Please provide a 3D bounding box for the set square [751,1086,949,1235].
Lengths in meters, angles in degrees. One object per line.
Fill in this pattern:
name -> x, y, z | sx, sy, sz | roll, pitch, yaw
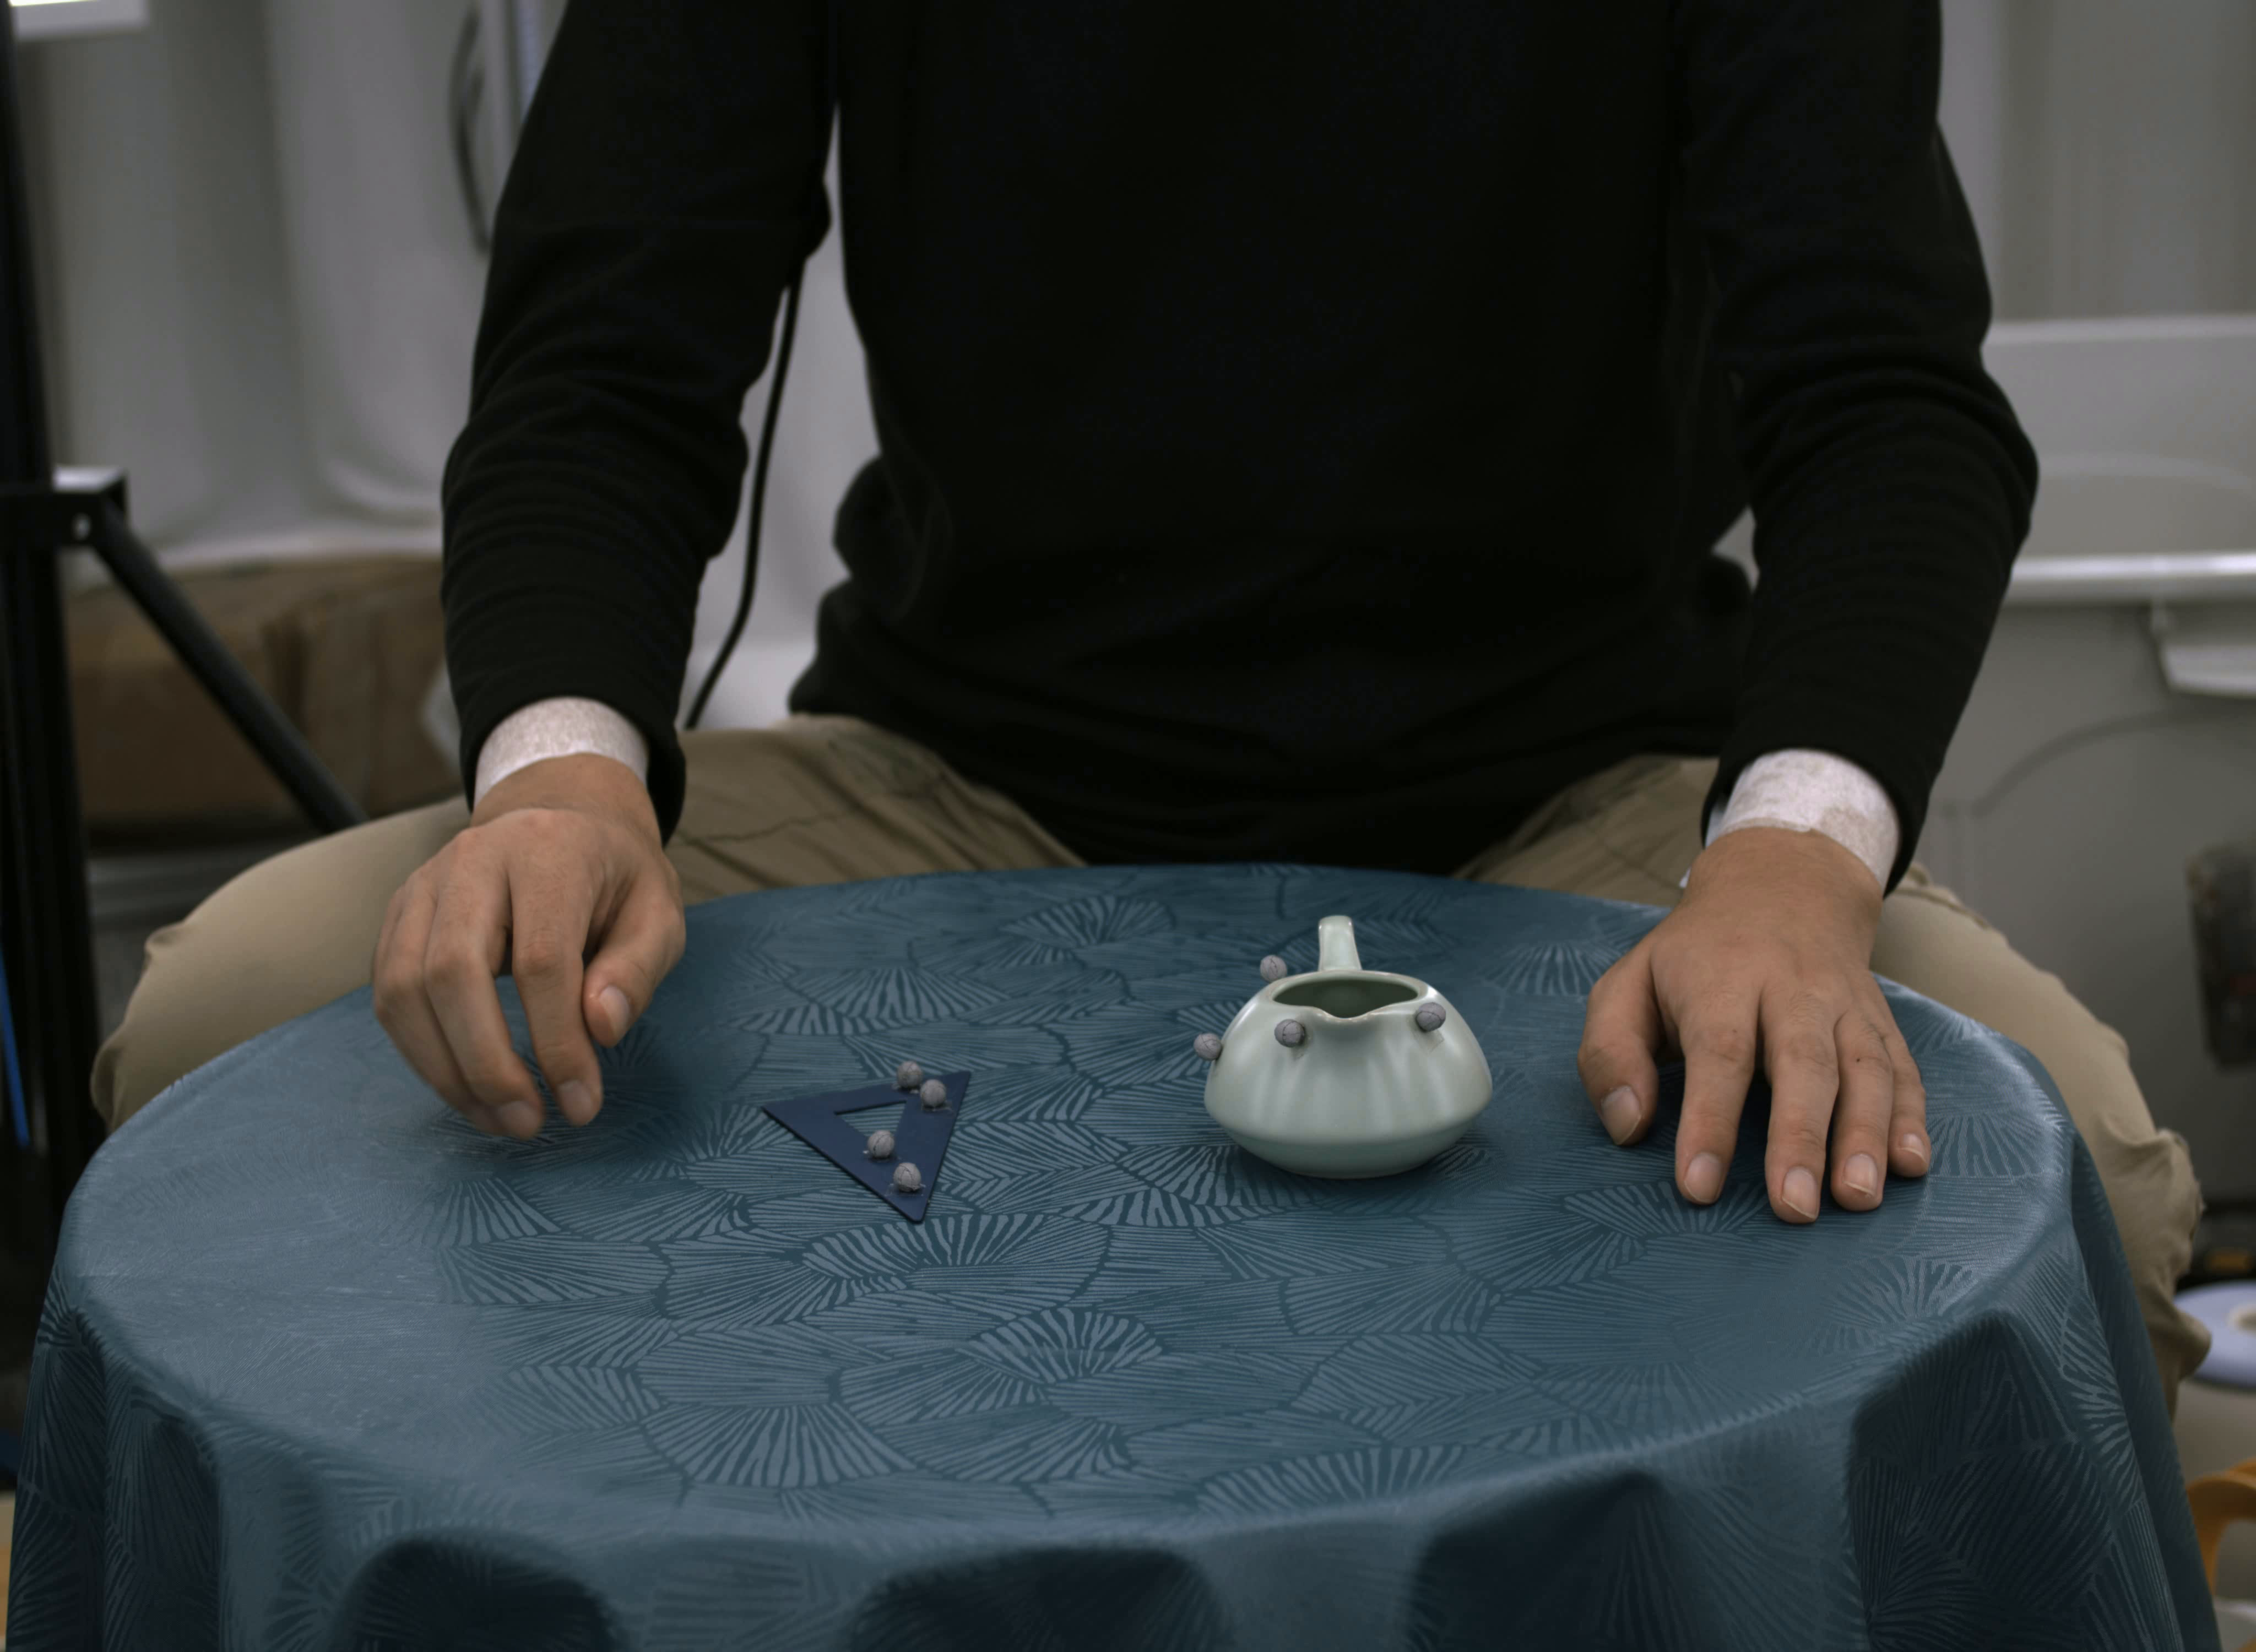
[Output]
set square -> -0.091, 0.098, 1.600 | 0.061, 0.006, 0.131 | 1, 16, 8

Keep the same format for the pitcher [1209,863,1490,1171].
pitcher -> 0.067, 0.059, 1.593 | 0.087, 0.060, 0.108 | -7, 31, 21
